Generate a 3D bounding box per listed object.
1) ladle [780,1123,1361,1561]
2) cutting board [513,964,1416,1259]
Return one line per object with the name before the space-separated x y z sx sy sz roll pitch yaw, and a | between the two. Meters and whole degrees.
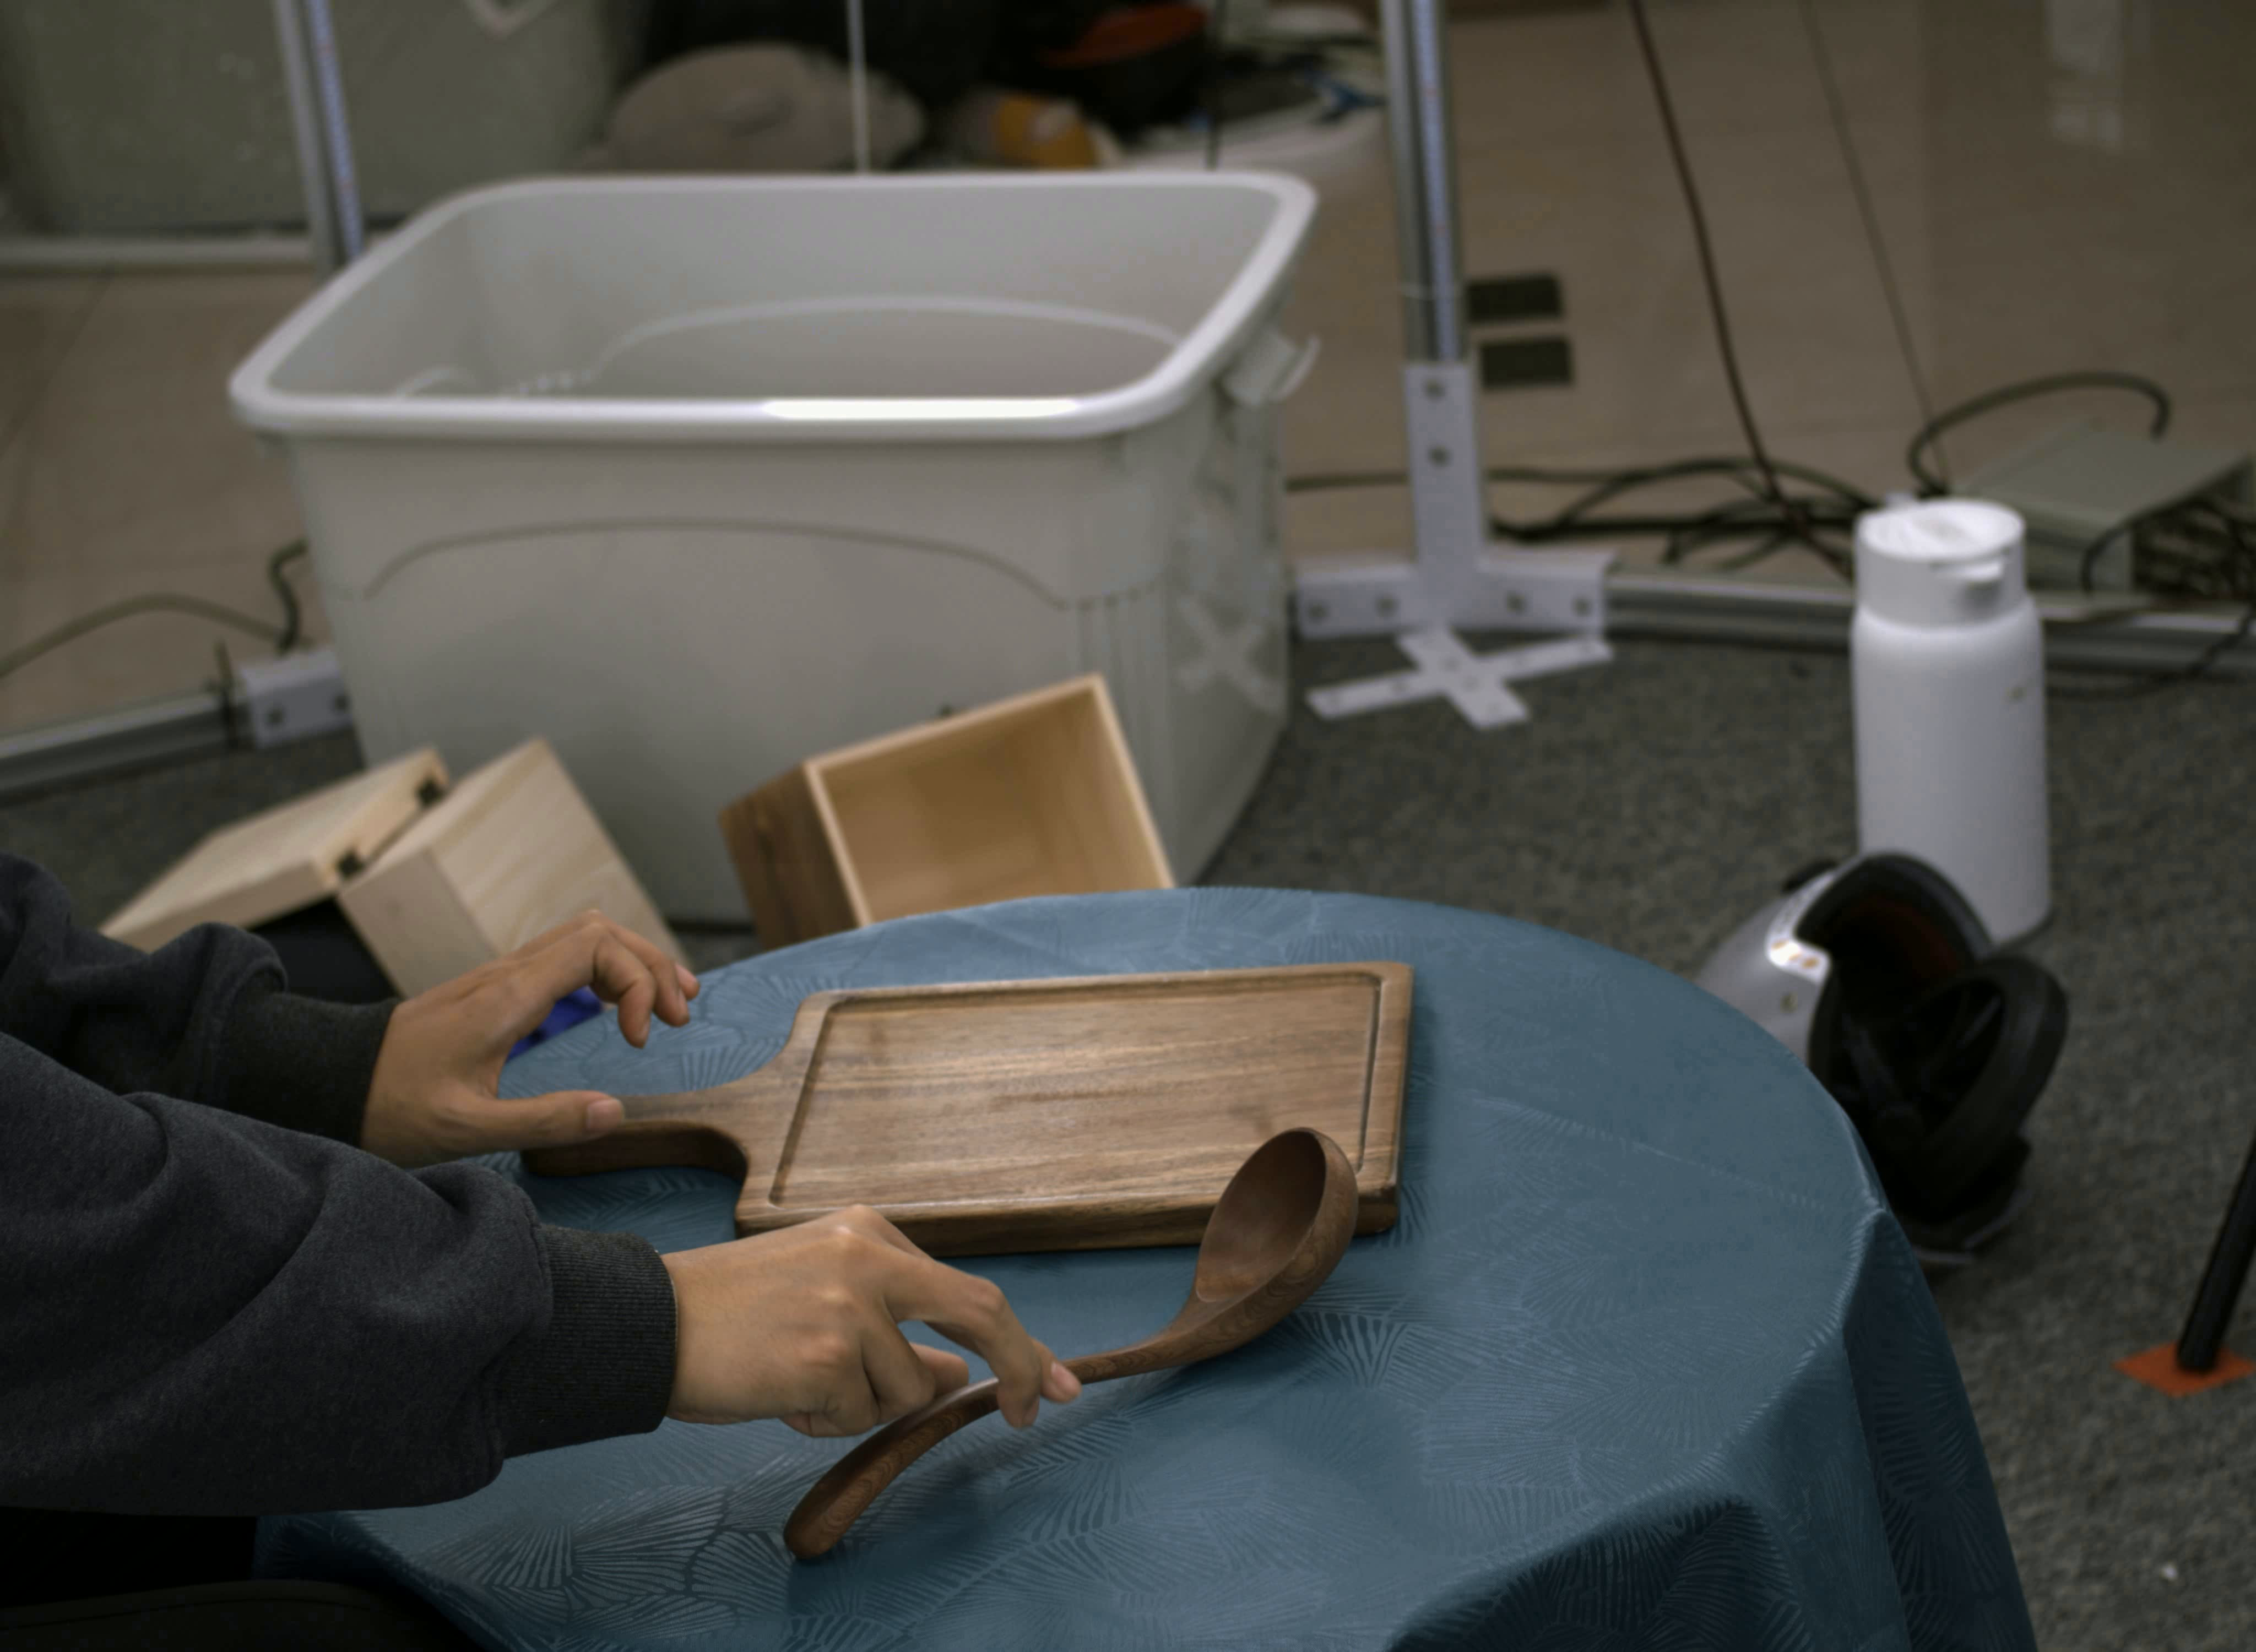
ladle | -0.023 0.178 1.993 0.258 0.065 0.077 -23 2 -30
cutting board | -0.065 0.111 2.196 0.351 0.023 0.198 -3 24 7
